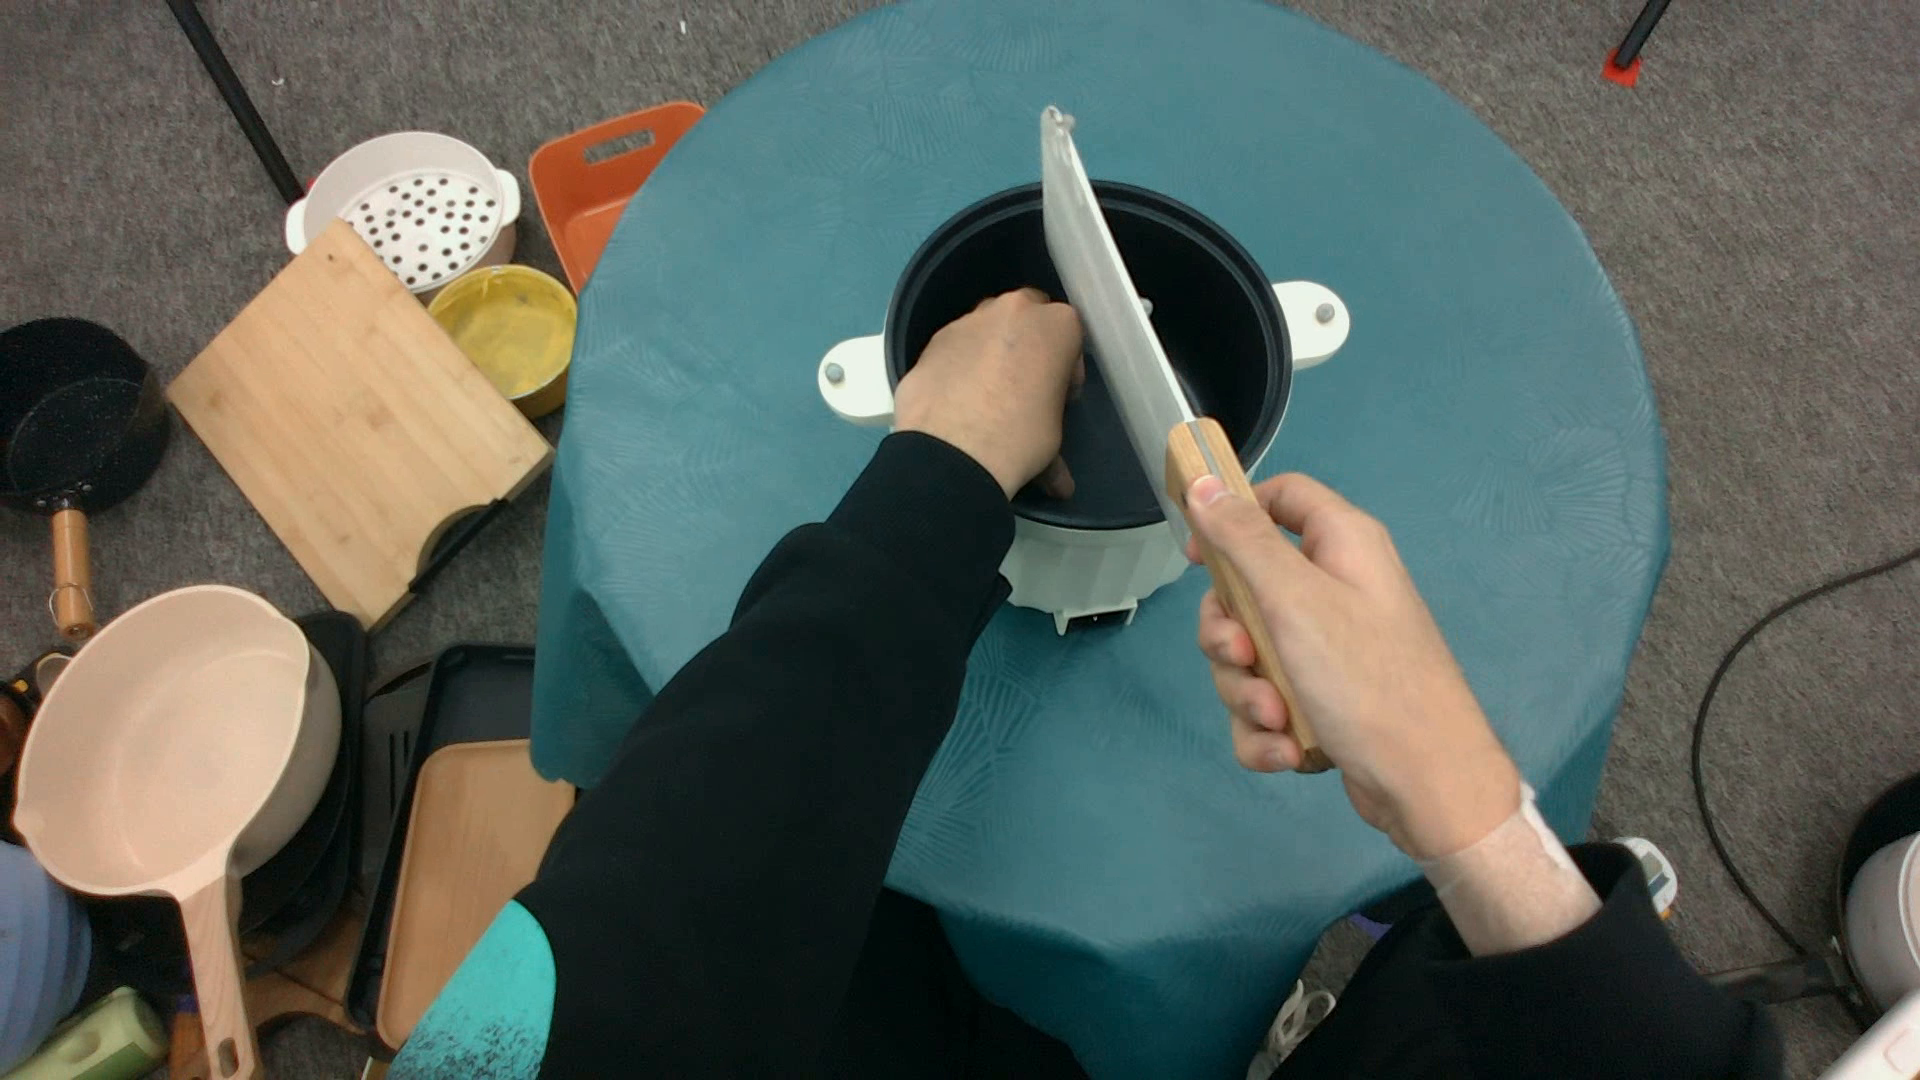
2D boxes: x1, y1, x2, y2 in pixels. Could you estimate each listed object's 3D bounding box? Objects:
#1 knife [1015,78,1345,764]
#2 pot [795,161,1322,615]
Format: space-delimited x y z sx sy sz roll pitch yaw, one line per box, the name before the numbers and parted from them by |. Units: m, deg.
knife | 0.069 -0.055 0.530 0.022 0.113 0.316 -17 56 -5
pot | 0.041 -0.073 0.669 0.240 0.142 0.191 -9 69 -8
